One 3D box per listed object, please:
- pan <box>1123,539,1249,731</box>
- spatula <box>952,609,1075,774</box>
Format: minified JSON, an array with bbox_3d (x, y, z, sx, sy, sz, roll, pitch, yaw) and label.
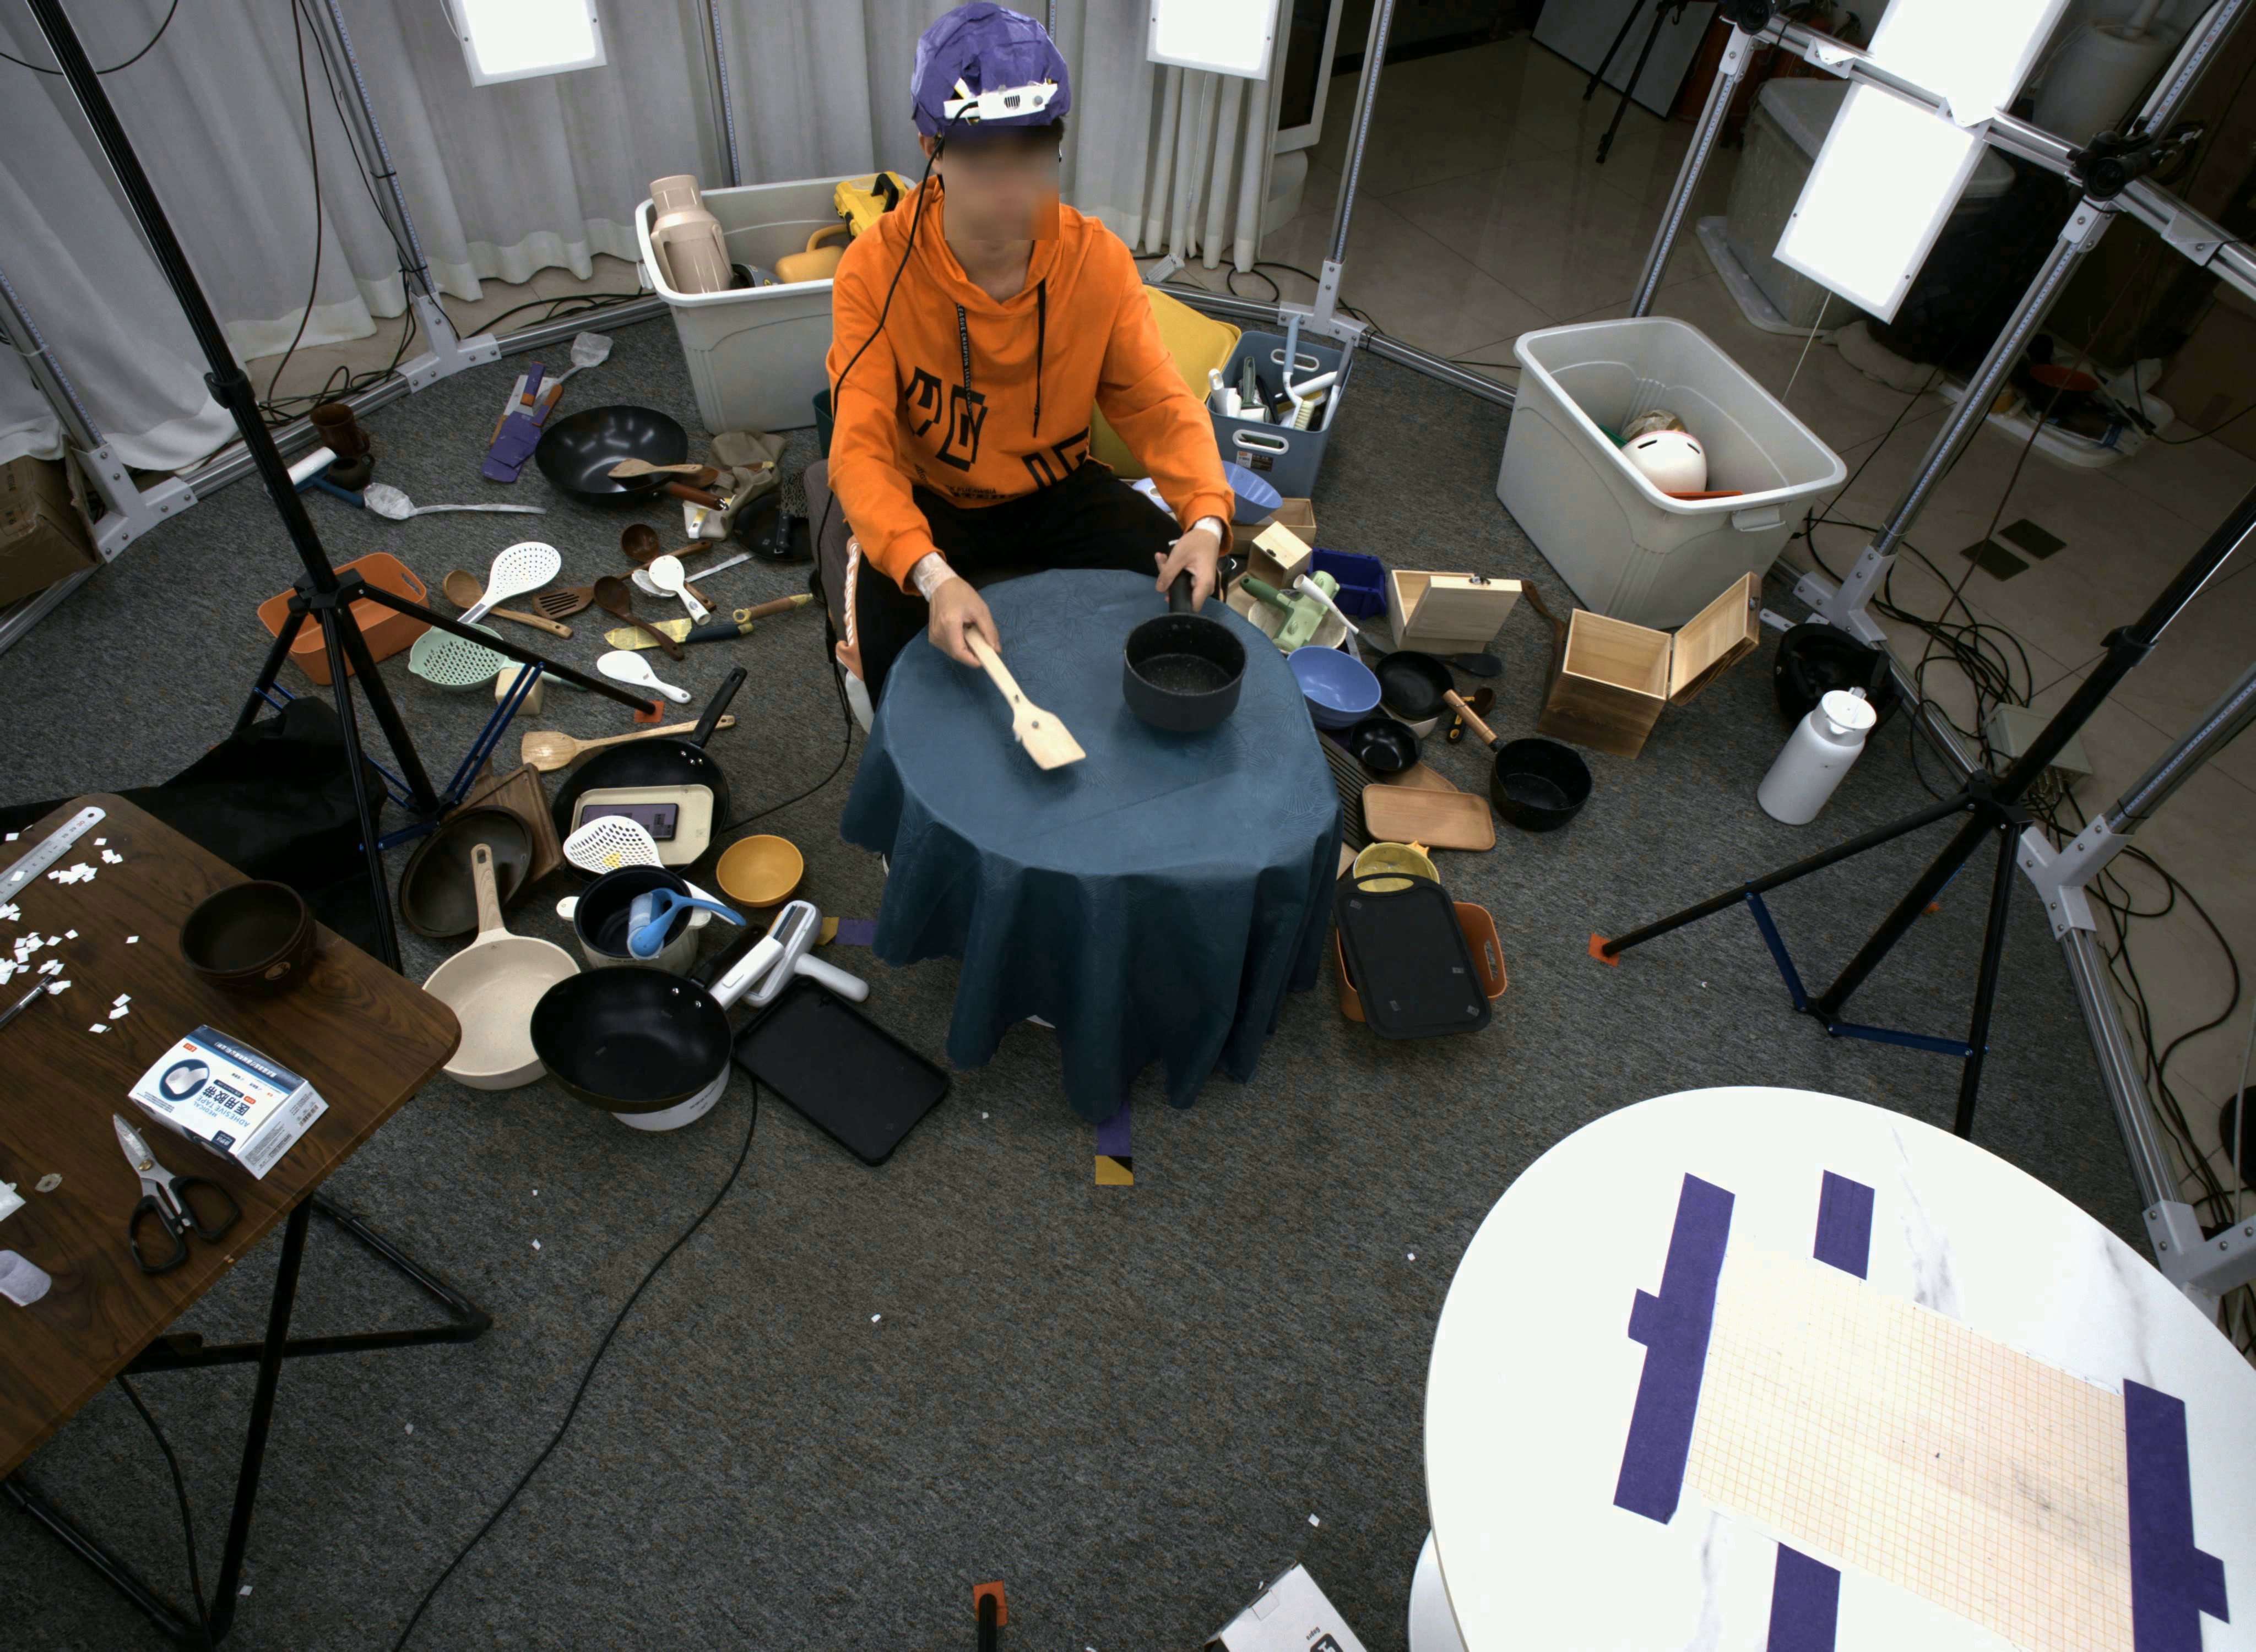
[{"bbox_3d":[0.079,-0.274,1.820,0.172,0.084,0.337,4,48,-2],"label":"pan"},{"bbox_3d":[-0.170,-0.190,1.761,0.072,0.010,0.298,-20,63,-23],"label":"spatula"}]
